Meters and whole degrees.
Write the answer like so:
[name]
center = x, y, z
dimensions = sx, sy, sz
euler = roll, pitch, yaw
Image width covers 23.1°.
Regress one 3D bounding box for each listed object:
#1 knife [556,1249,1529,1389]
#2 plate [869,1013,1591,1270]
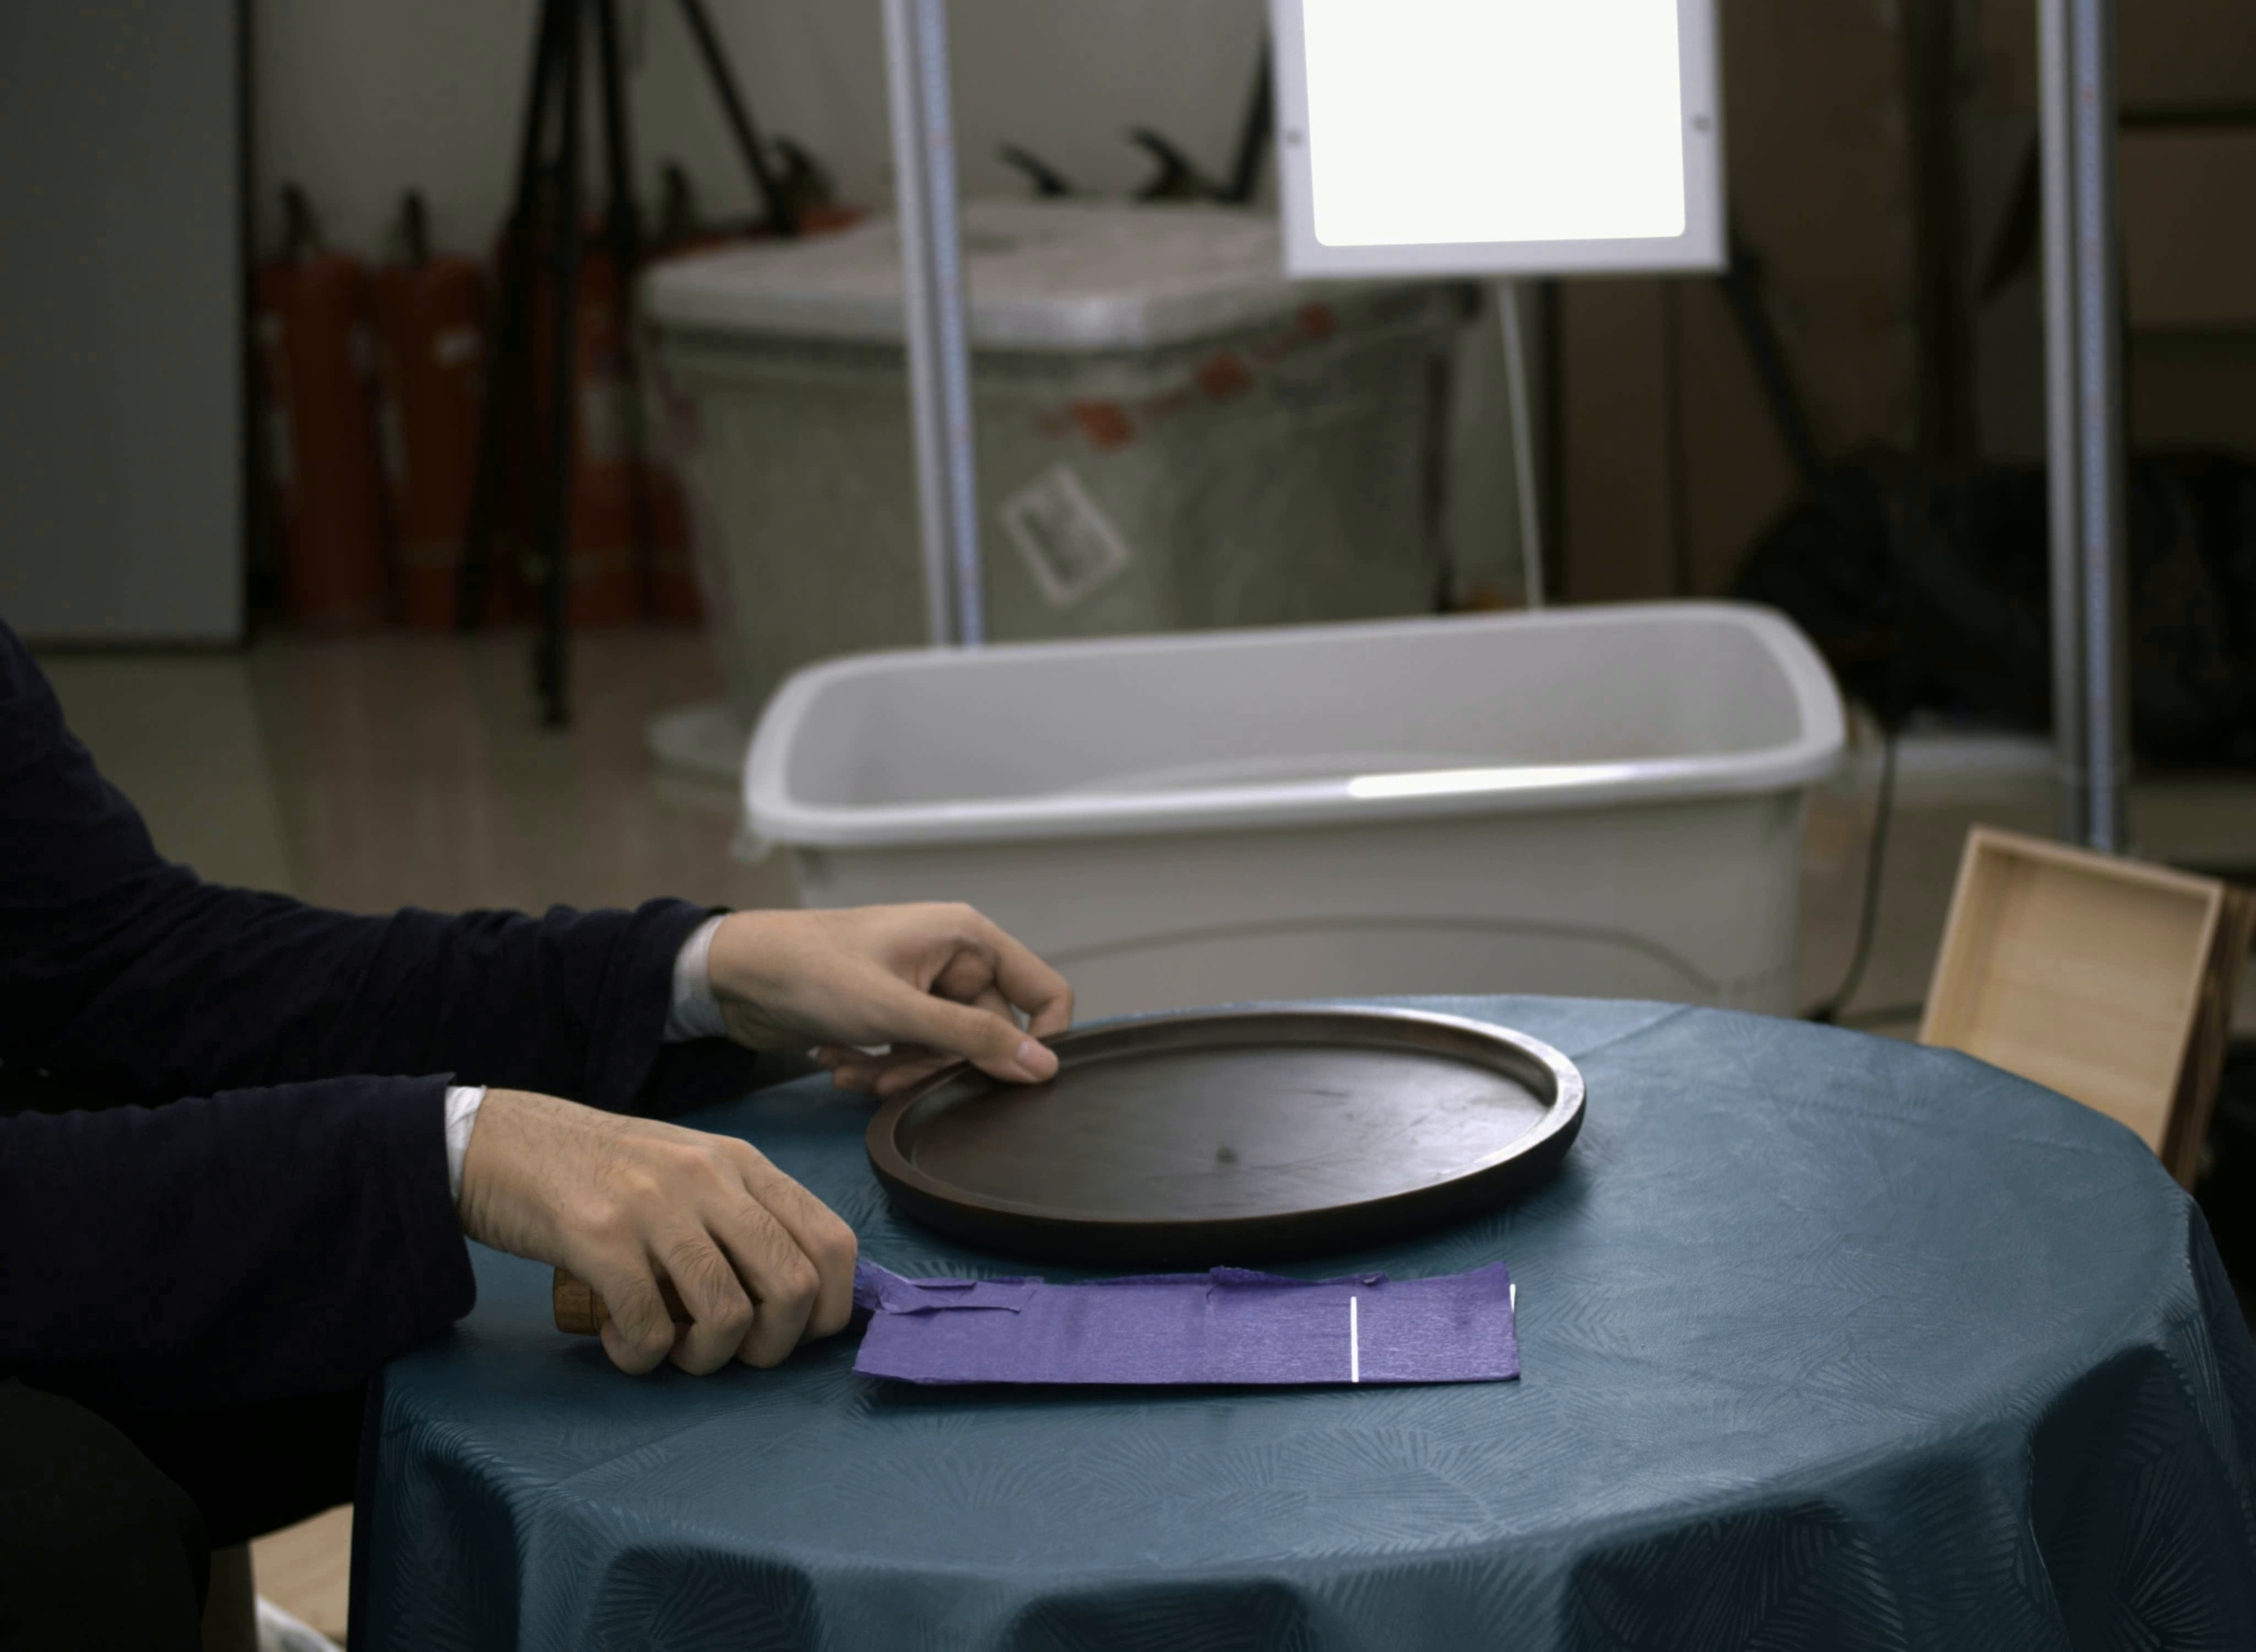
[knife]
center = -0.031, 0.155, 1.742
dimensions = 0.316, 0.032, 0.103
euler = -3, 14, 7
[plate]
center = 0.036, 0.107, 1.919
dimensions = 0.254, 0.029, 0.254
euler = -4, 14, 0
